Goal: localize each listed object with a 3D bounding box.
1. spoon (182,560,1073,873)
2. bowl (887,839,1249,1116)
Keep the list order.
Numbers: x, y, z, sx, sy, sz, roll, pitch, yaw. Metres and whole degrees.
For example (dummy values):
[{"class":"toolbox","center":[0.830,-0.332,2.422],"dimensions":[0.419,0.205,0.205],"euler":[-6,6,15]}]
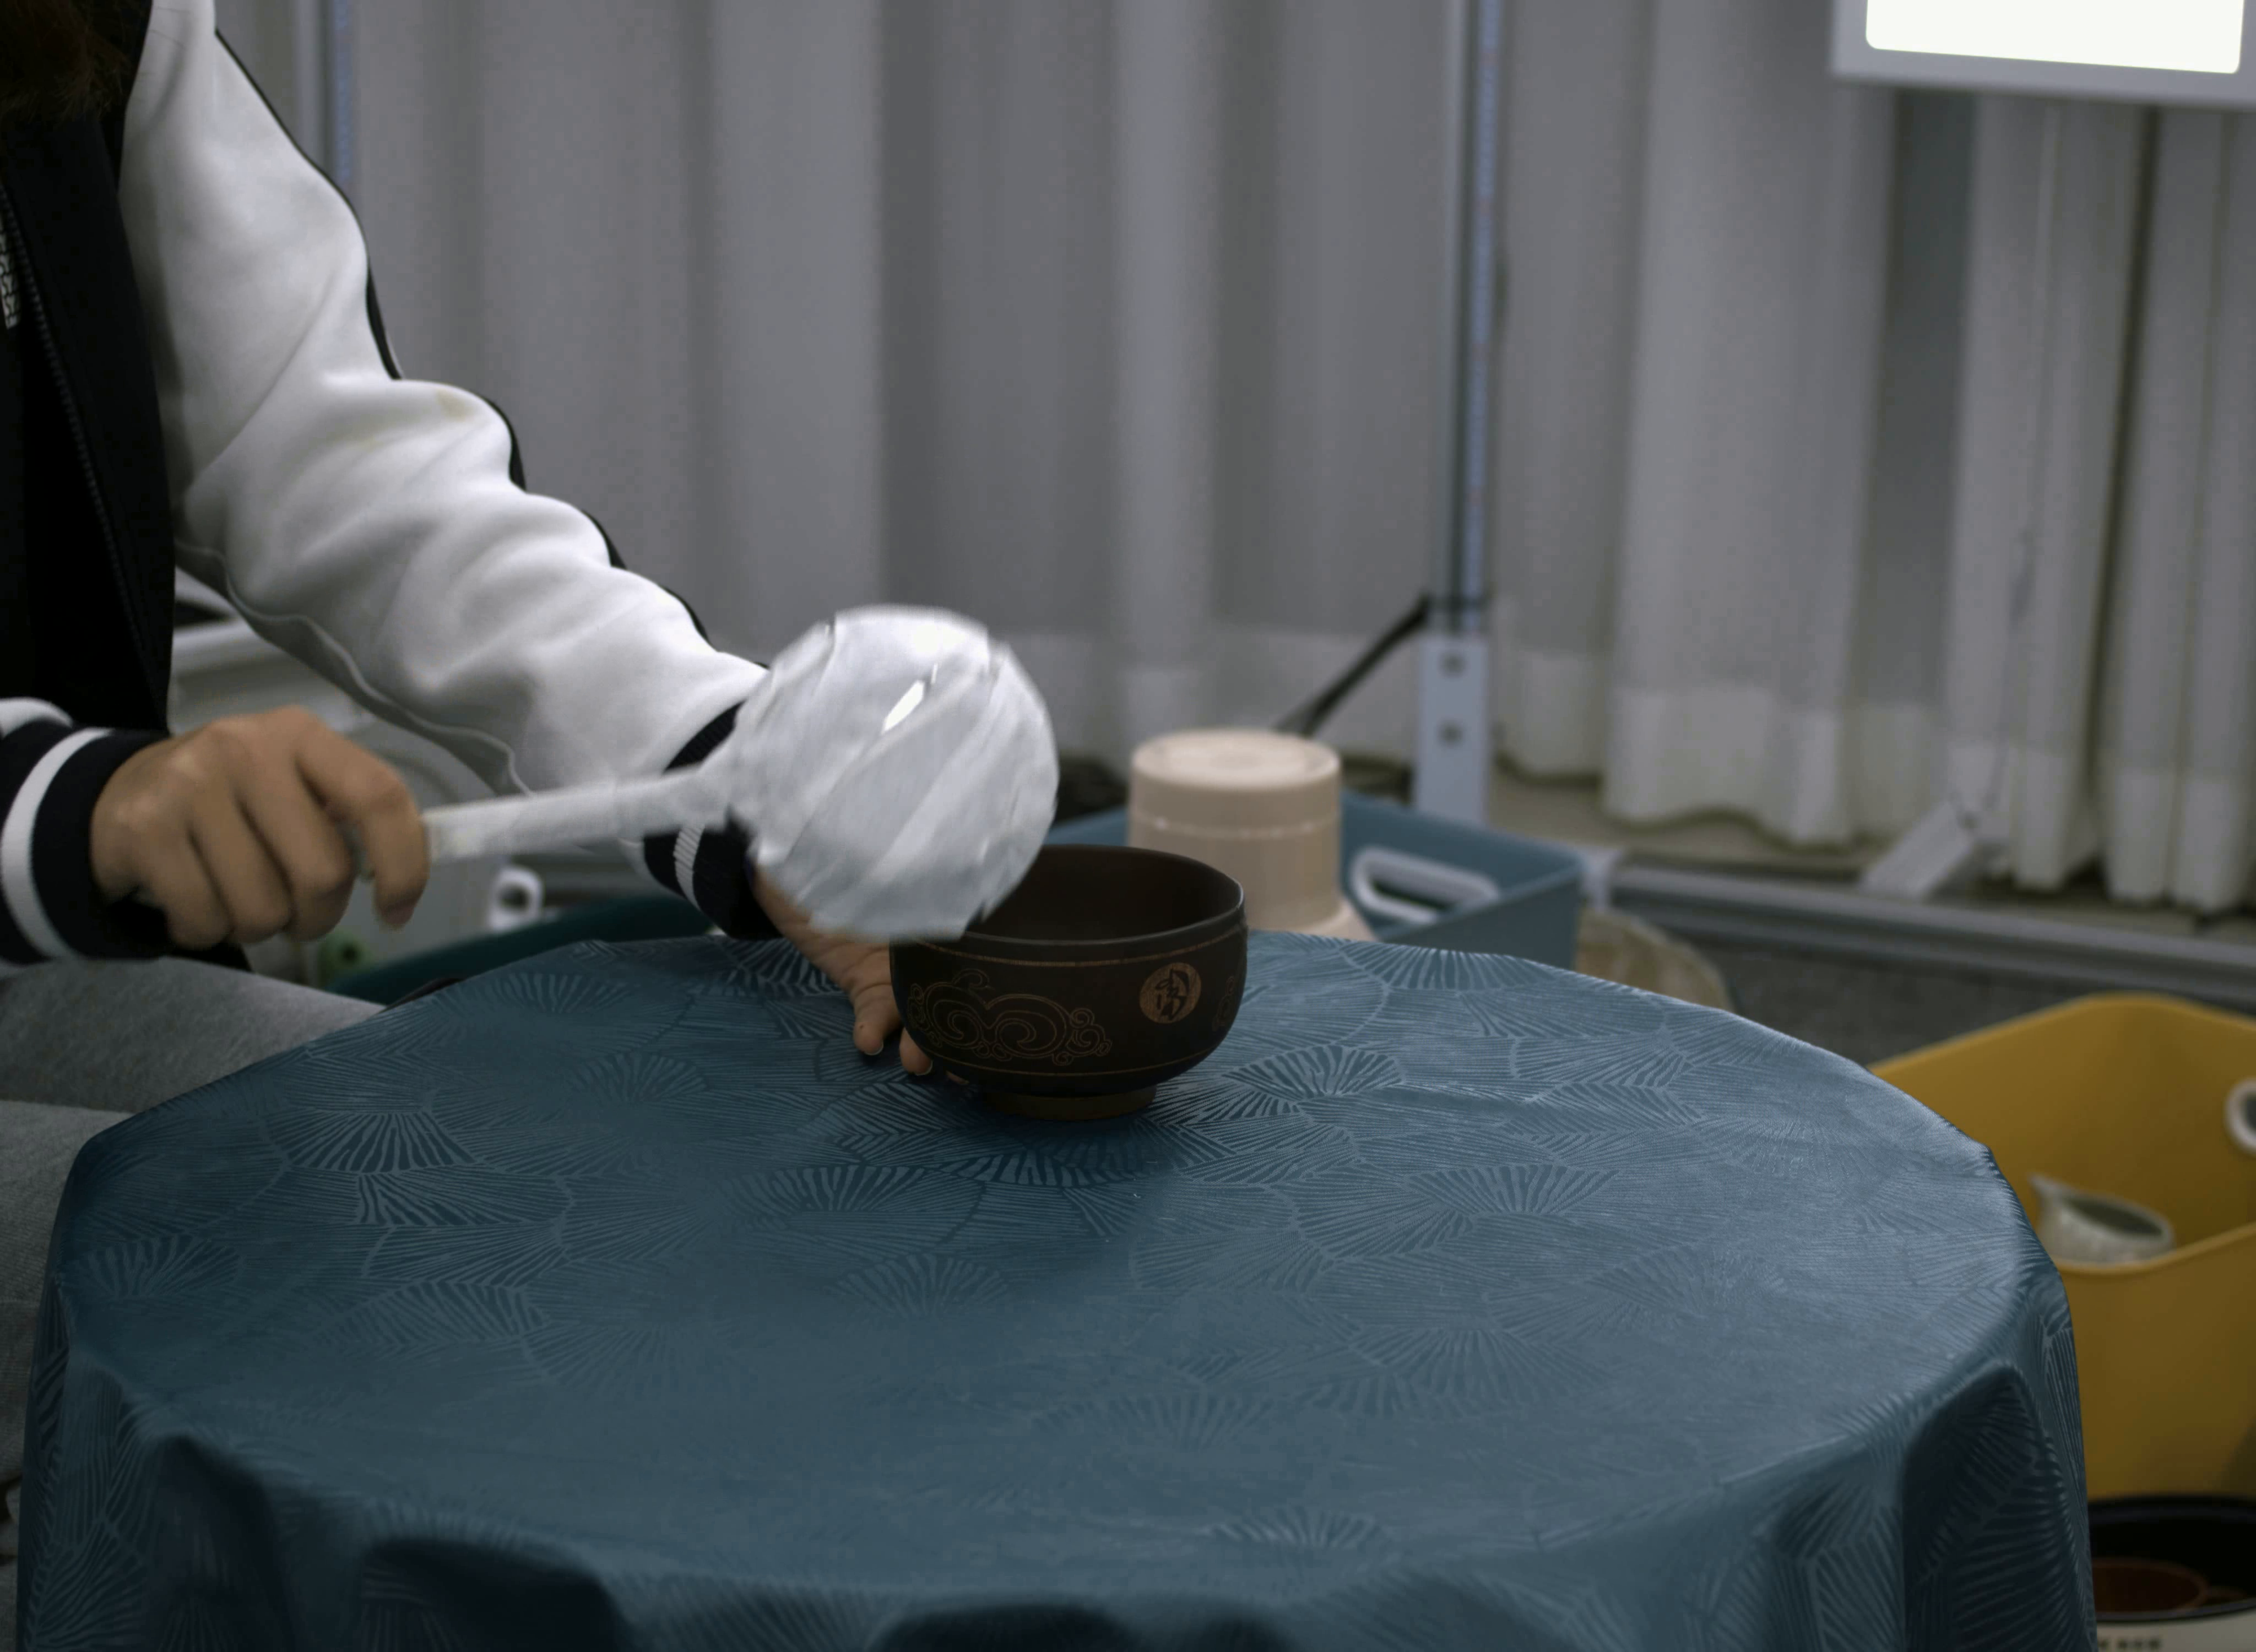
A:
[{"class":"spoon","center":[-0.150,-0.018,1.562],"dimensions":[0.275,0.102,0.059],"euler":[-7,29,22]},{"class":"bowl","center":[-0.019,0.052,1.701],"dimensions":[0.117,0.070,0.117],"euler":[1,15,0]}]
